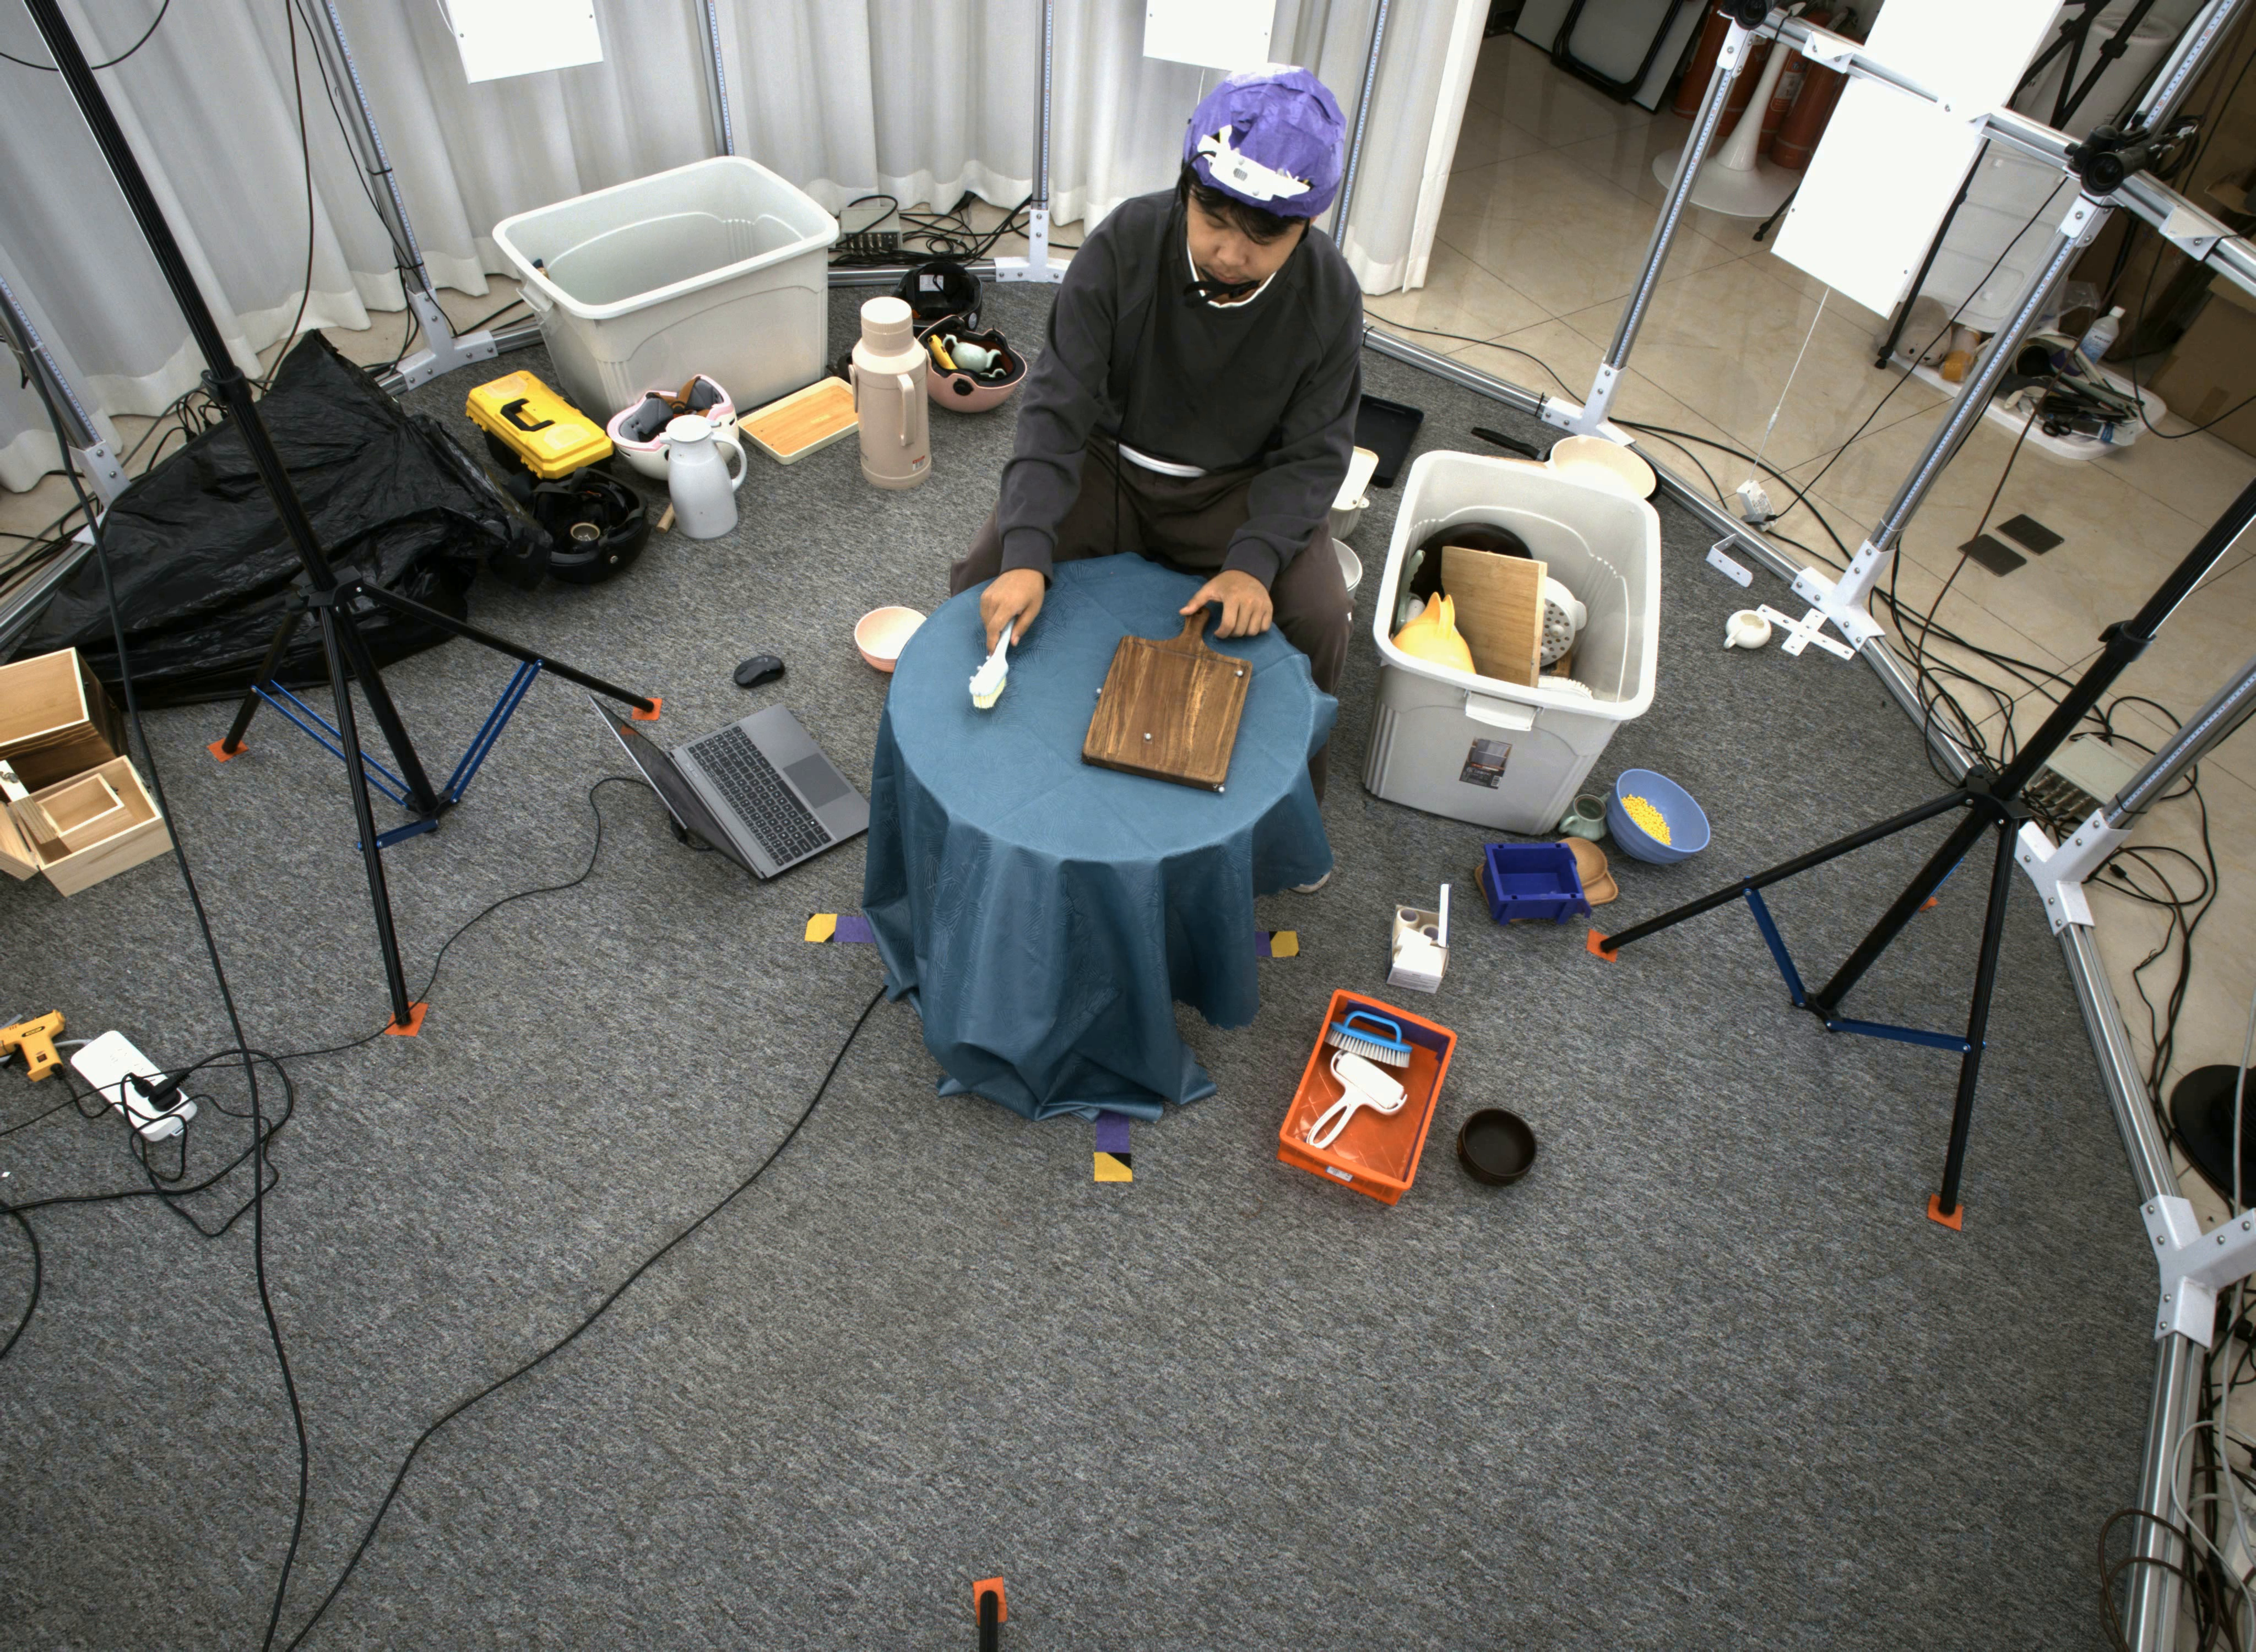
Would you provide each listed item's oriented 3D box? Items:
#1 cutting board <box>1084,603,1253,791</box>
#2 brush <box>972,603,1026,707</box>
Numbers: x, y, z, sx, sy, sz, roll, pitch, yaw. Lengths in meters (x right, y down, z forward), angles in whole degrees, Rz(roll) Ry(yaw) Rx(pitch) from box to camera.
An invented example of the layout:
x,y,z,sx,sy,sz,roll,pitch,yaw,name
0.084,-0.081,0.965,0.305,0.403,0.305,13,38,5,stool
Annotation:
x,y,z,sx,sy,sz,roll,pitch,yaw,name
0.072,-0.200,1.831,0.201,0.022,0.360,12,49,6,cutting board
-0.180,-0.250,1.840,0.038,0.048,0.234,4,45,8,brush
